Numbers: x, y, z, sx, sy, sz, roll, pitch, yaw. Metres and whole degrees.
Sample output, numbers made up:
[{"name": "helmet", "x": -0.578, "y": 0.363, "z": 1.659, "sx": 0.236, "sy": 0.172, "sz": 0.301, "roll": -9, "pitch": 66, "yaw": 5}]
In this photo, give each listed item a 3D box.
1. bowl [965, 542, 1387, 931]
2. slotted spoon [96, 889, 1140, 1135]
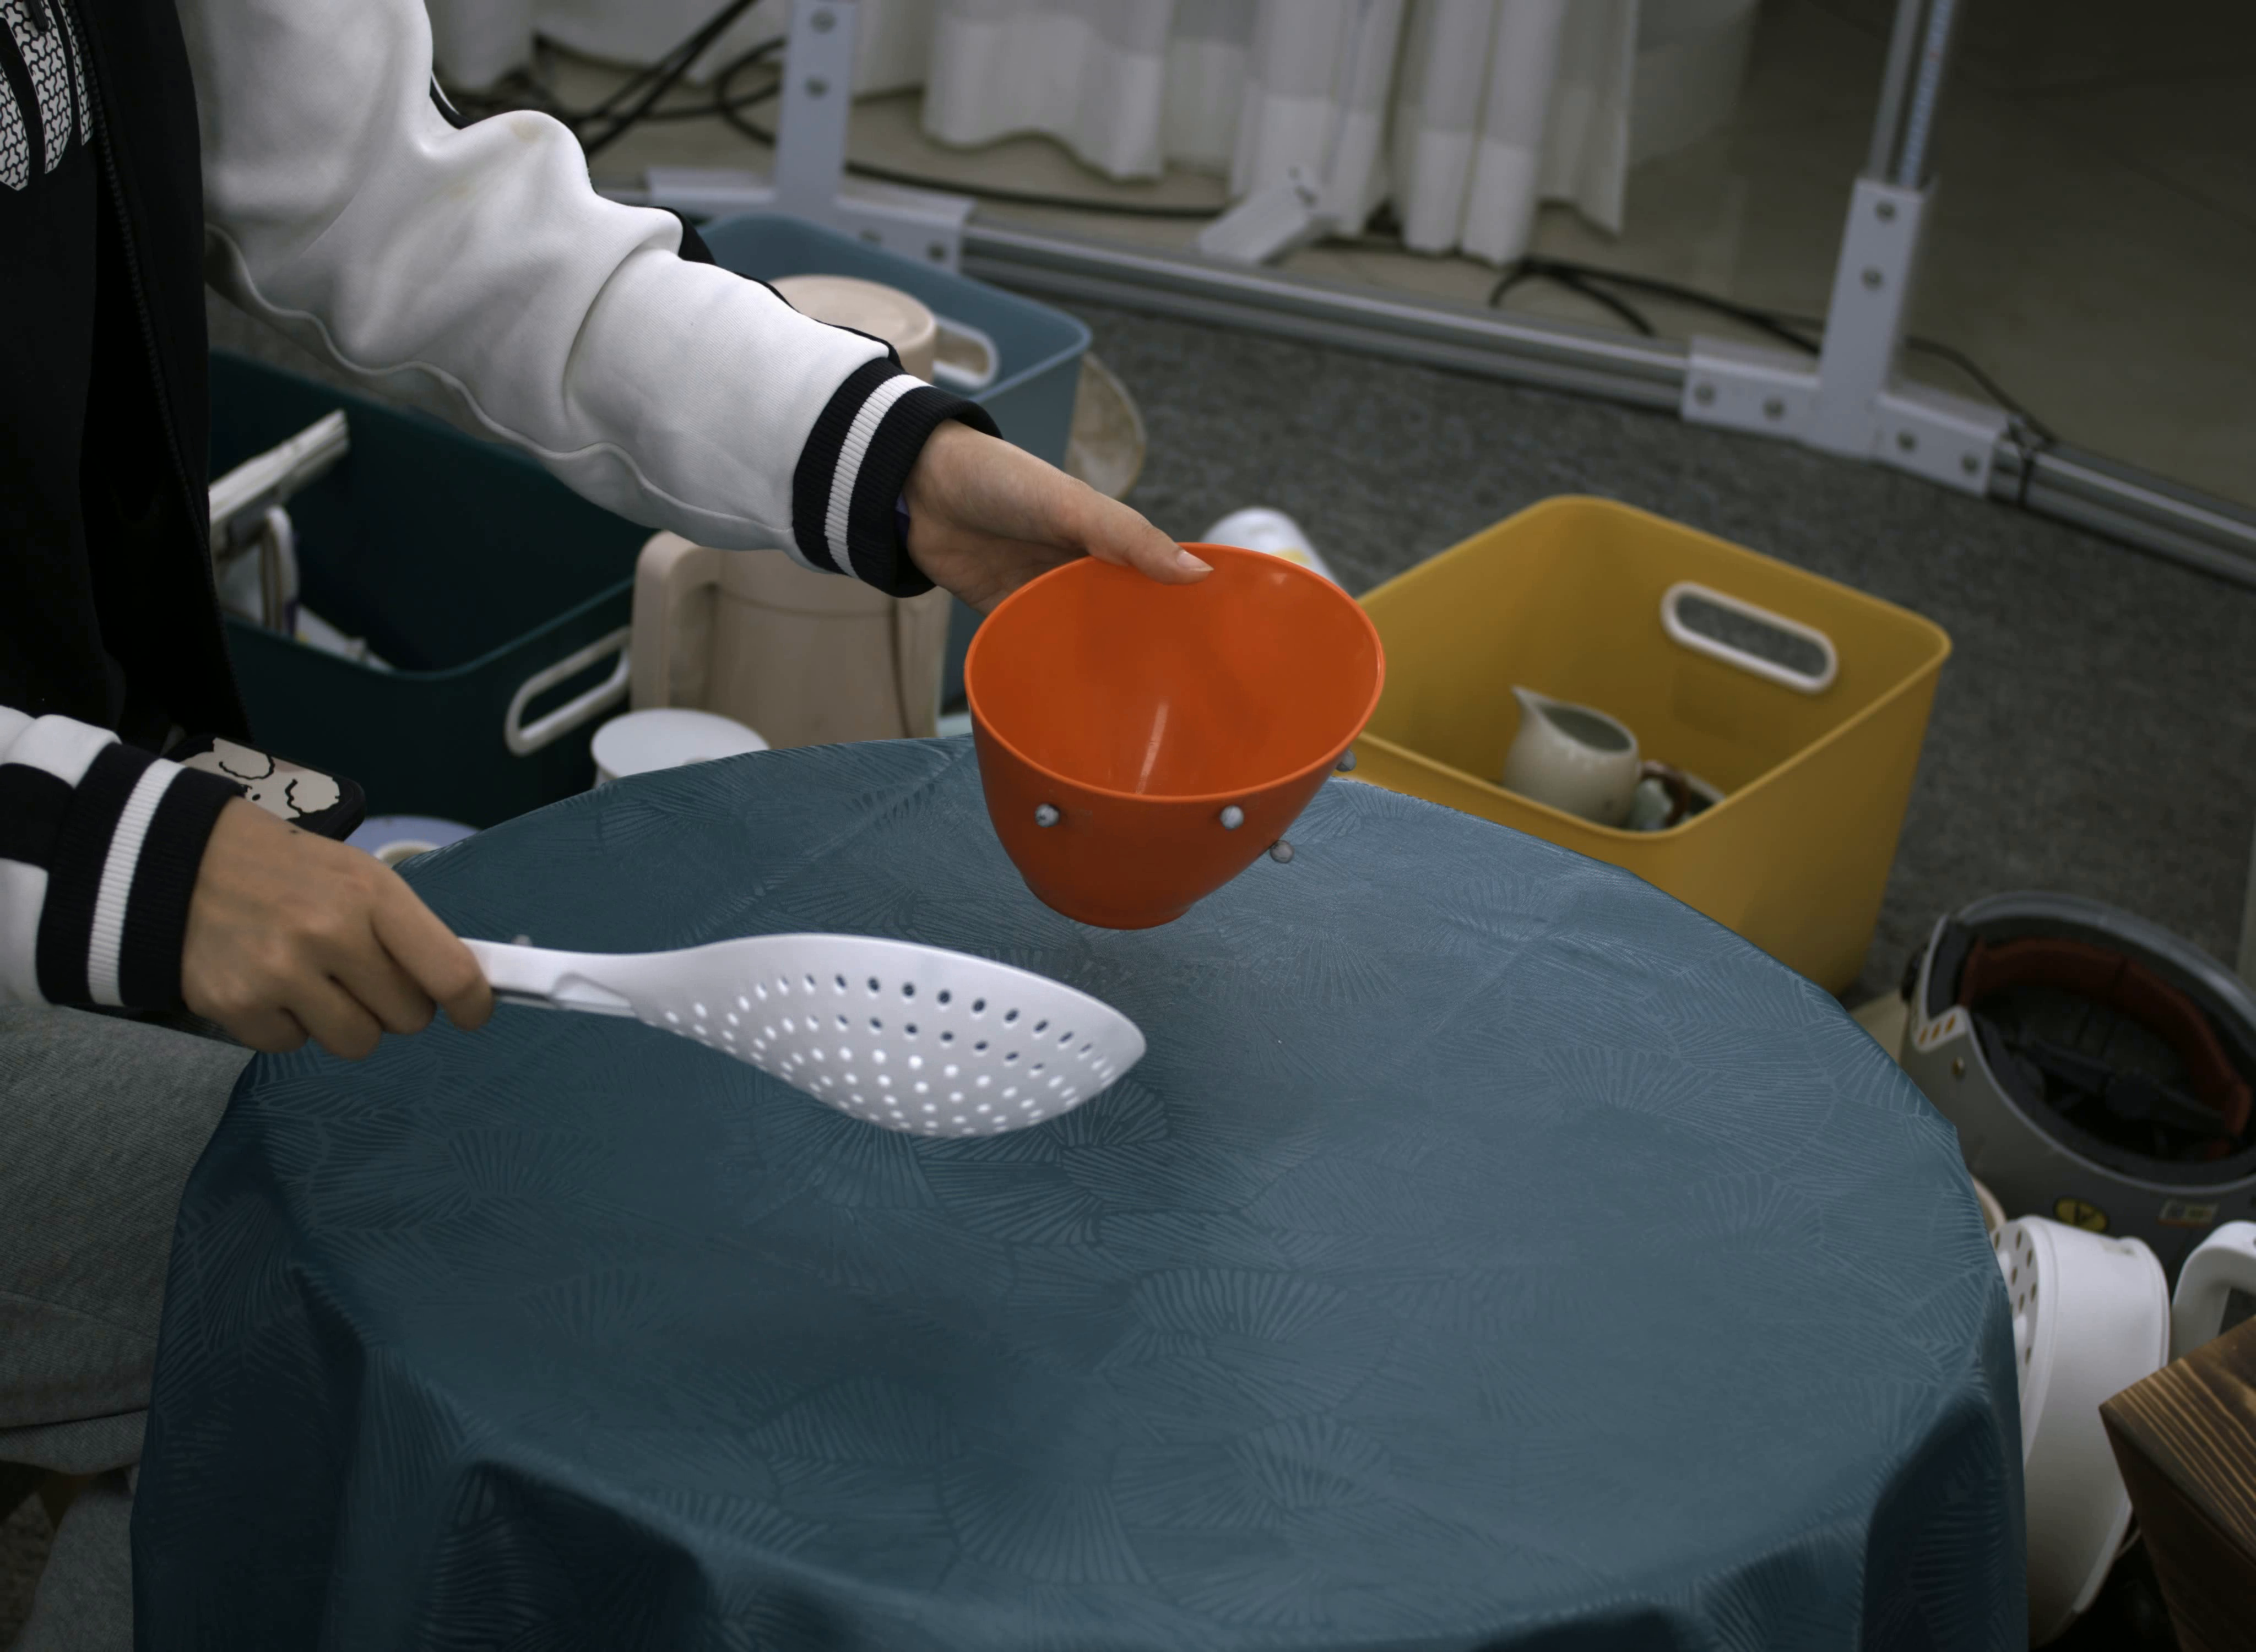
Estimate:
[{"name": "bowl", "x": 0.012, "y": -0.023, "z": 1.902, "sx": 0.147, "sy": 0.104, "sz": 0.149, "roll": 6, "pitch": 38, "yaw": -5}, {"name": "slotted spoon", "x": -0.167, "y": 0.050, "z": 1.684, "sx": 0.350, "sy": 0.046, "sz": 0.135, "roll": 11, "pitch": -18, "yaw": 18}]
